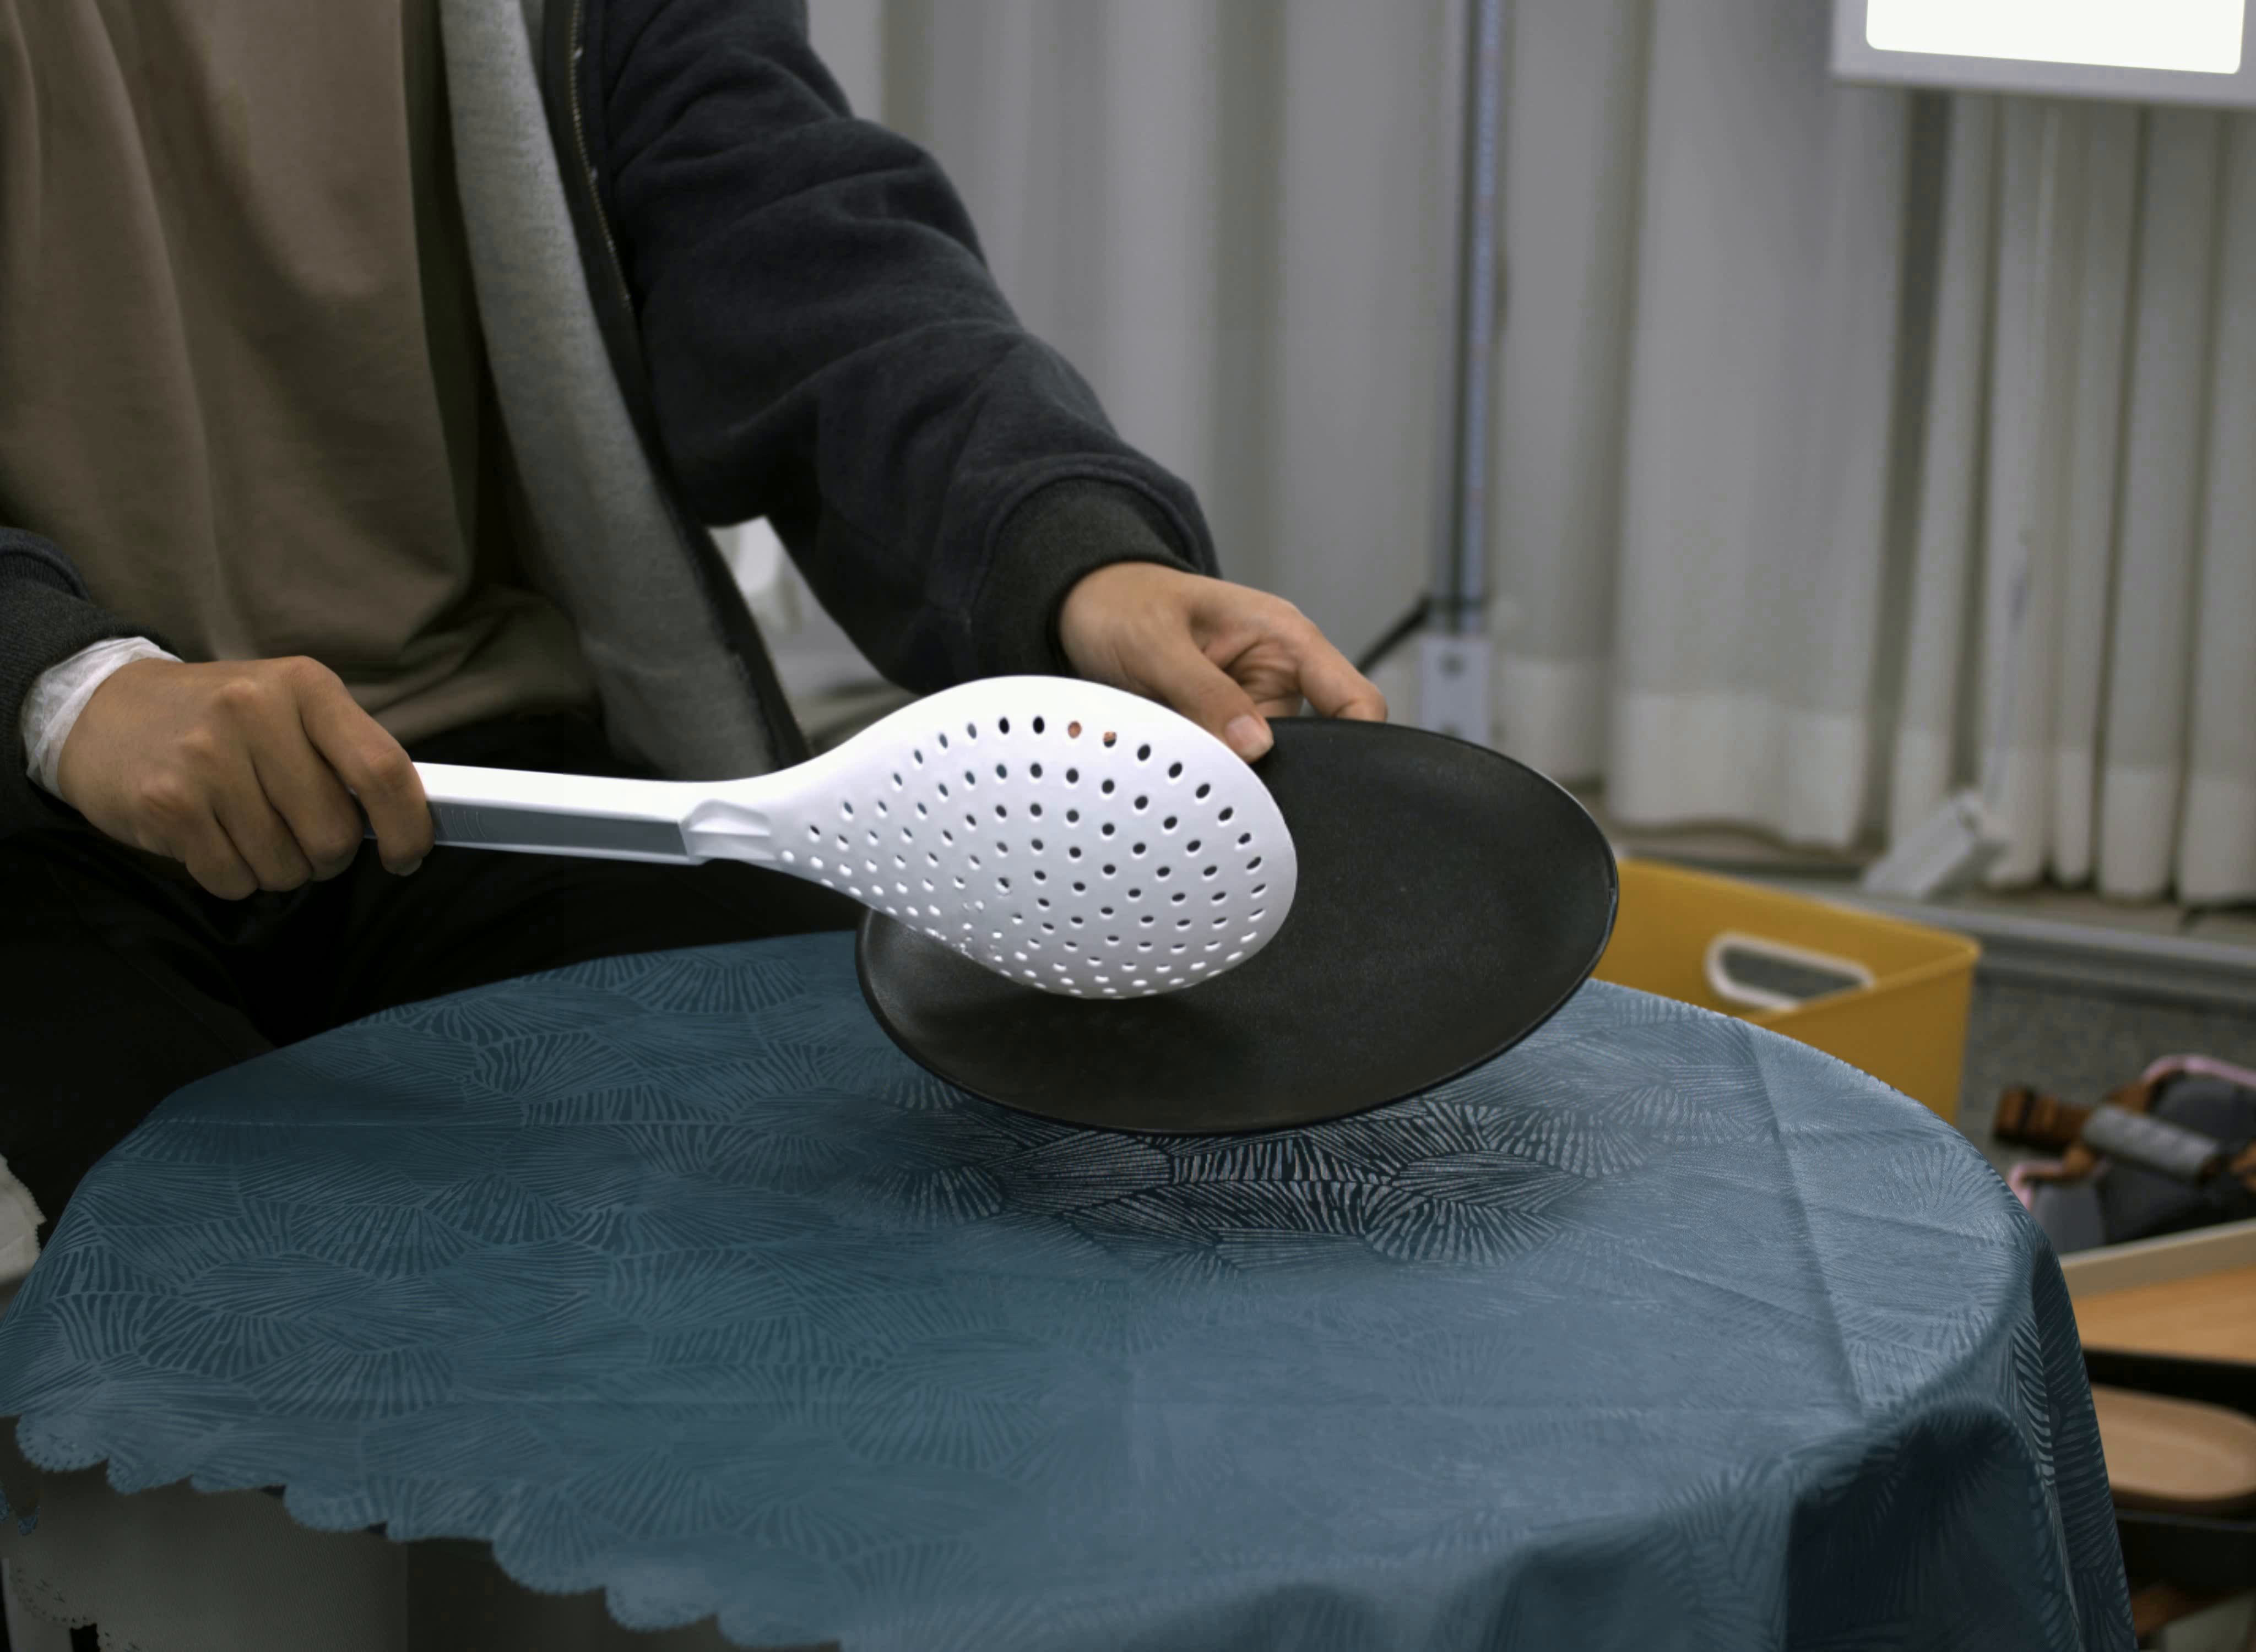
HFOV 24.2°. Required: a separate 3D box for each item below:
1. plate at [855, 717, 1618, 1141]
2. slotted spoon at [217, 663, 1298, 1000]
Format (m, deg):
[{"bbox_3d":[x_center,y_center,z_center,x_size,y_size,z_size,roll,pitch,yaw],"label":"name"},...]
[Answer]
[{"bbox_3d":[0.034,0.036,1.669,0.243,0.024,0.242,-4,32,3],"label":"plate"},{"bbox_3d":[-0.120,-0.002,1.627,0.346,0.138,0.045,8,46,18],"label":"slotted spoon"}]
